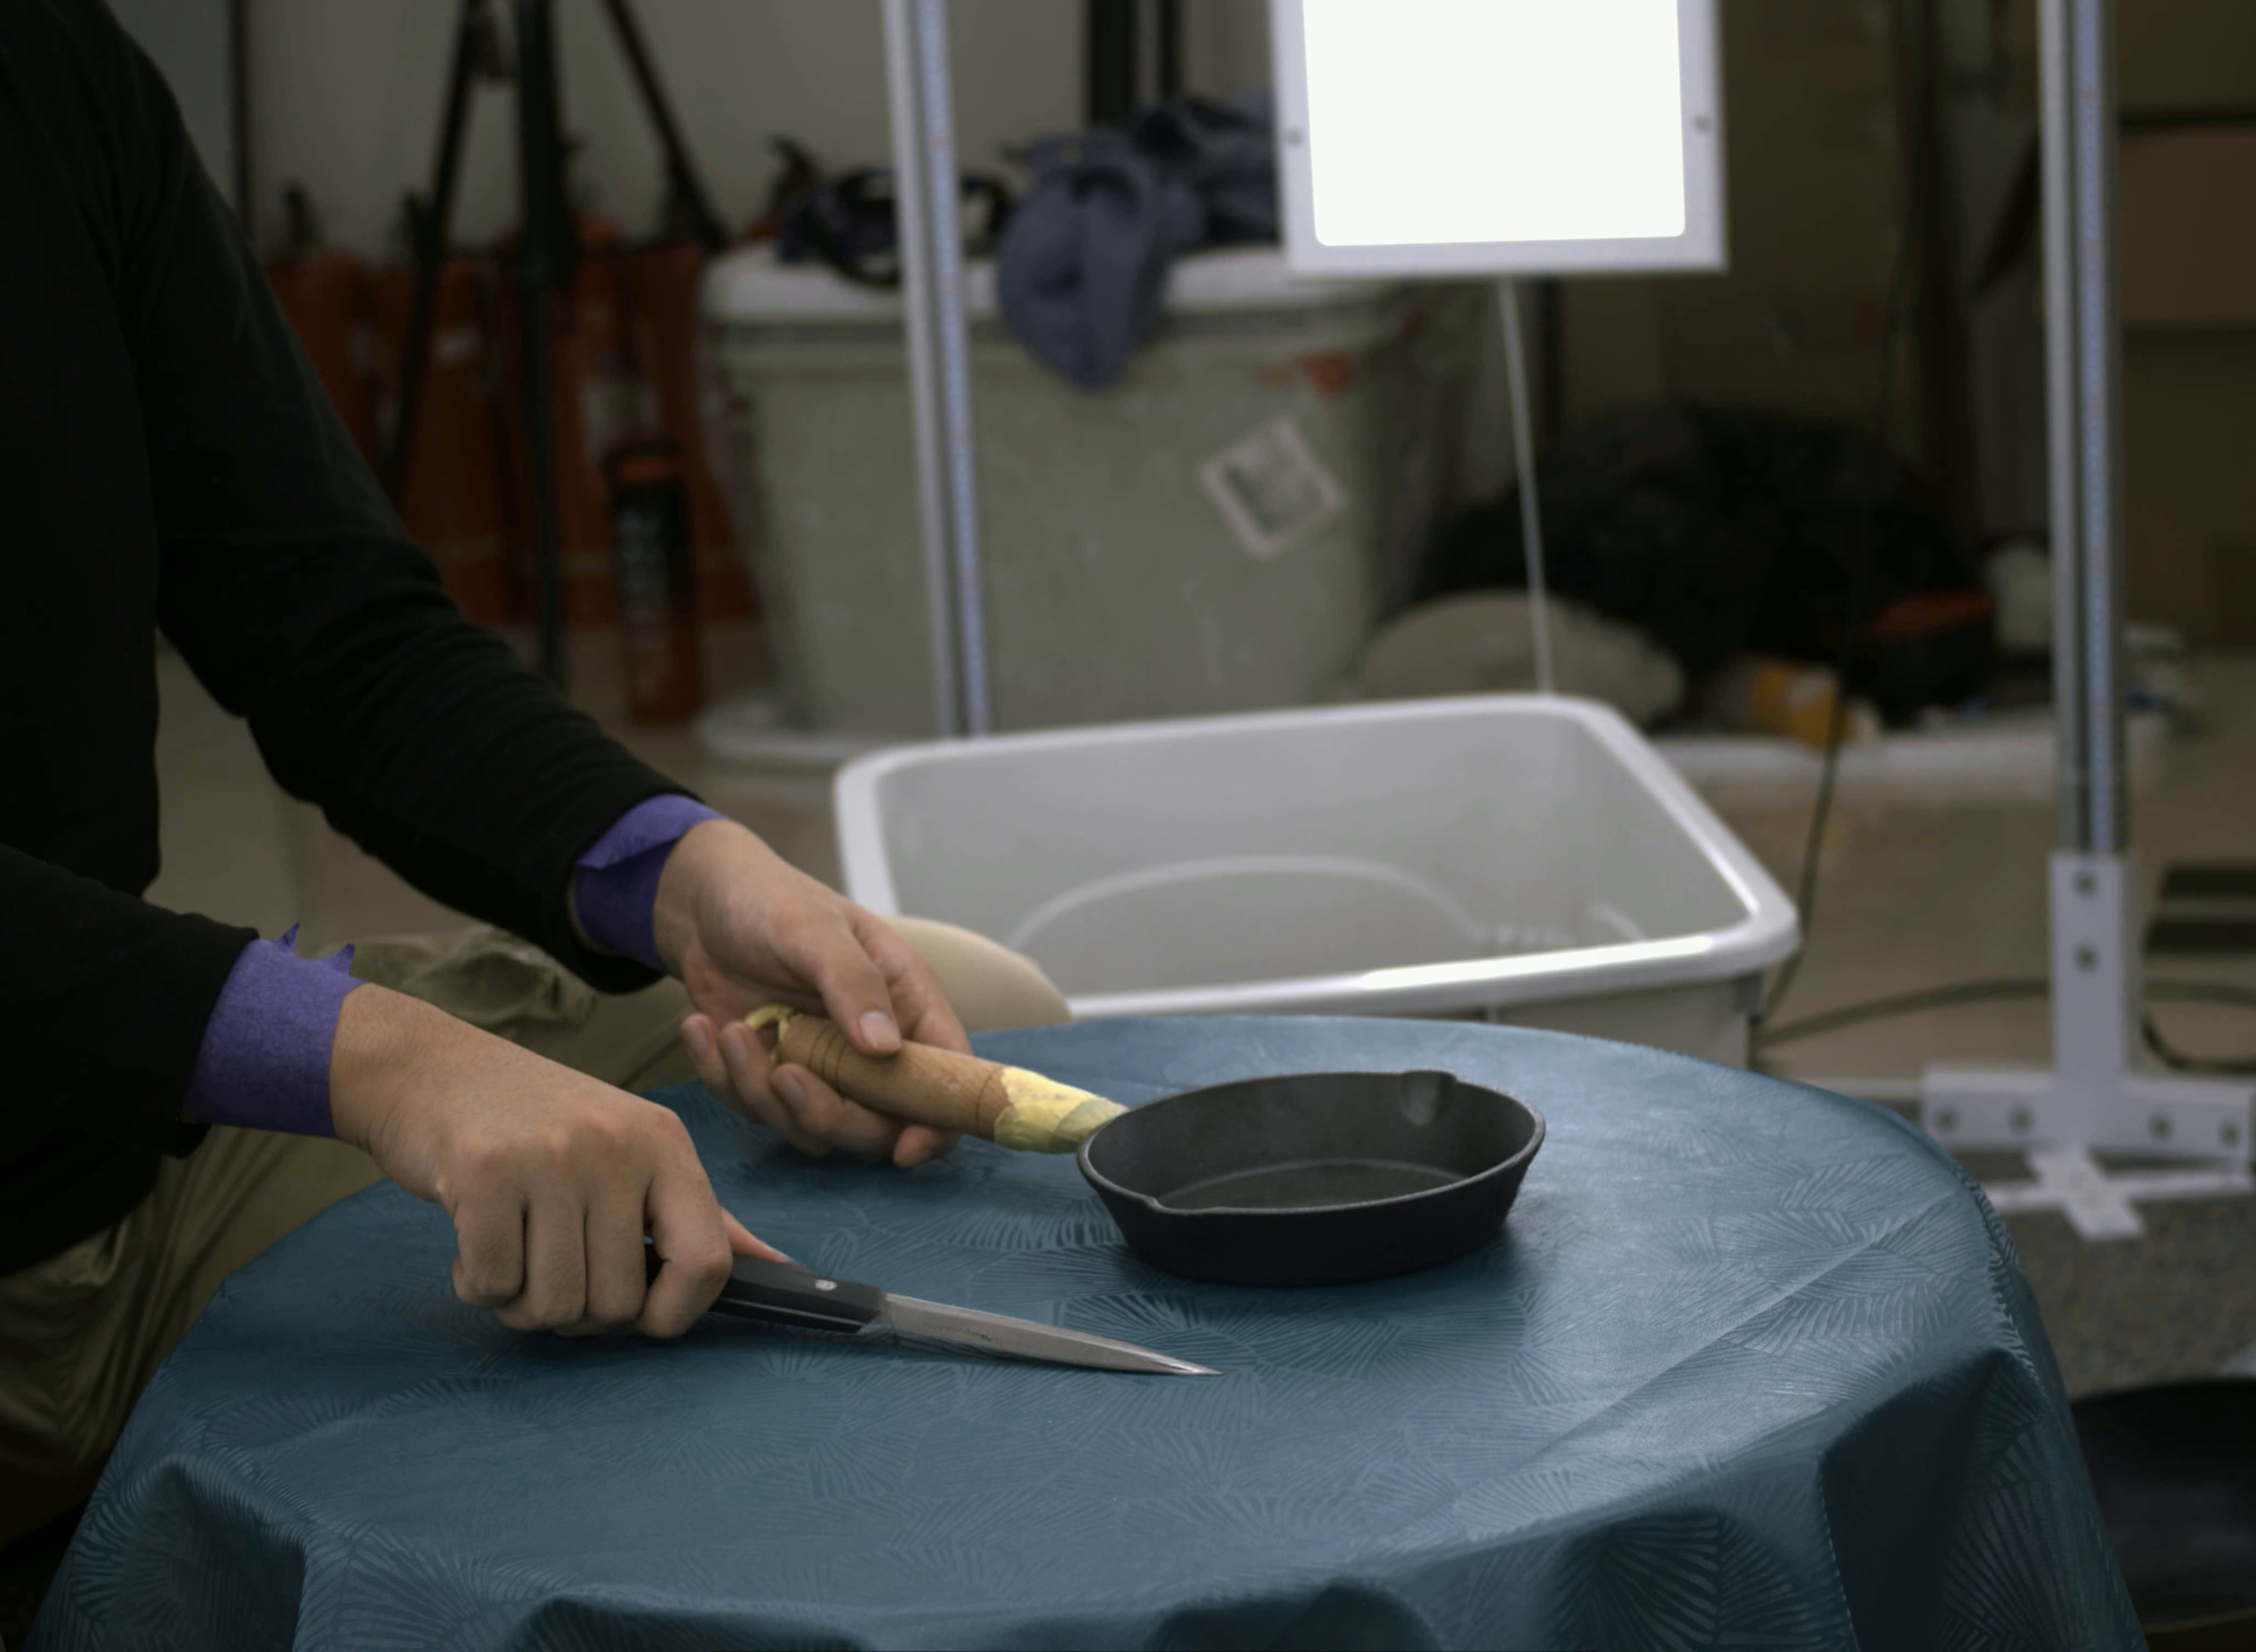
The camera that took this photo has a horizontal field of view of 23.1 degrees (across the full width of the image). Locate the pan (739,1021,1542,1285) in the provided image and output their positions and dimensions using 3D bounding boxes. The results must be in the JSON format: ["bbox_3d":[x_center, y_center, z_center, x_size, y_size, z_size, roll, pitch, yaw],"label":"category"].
[{"bbox_3d":[-0.006,0.106,1.890,0.331,0.050,0.164,5,17,39],"label":"pan"}]

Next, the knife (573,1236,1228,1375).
[{"bbox_3d":[-0.077,0.157,1.765,0.242,0.016,0.024,7,22,27],"label":"knife"}]
